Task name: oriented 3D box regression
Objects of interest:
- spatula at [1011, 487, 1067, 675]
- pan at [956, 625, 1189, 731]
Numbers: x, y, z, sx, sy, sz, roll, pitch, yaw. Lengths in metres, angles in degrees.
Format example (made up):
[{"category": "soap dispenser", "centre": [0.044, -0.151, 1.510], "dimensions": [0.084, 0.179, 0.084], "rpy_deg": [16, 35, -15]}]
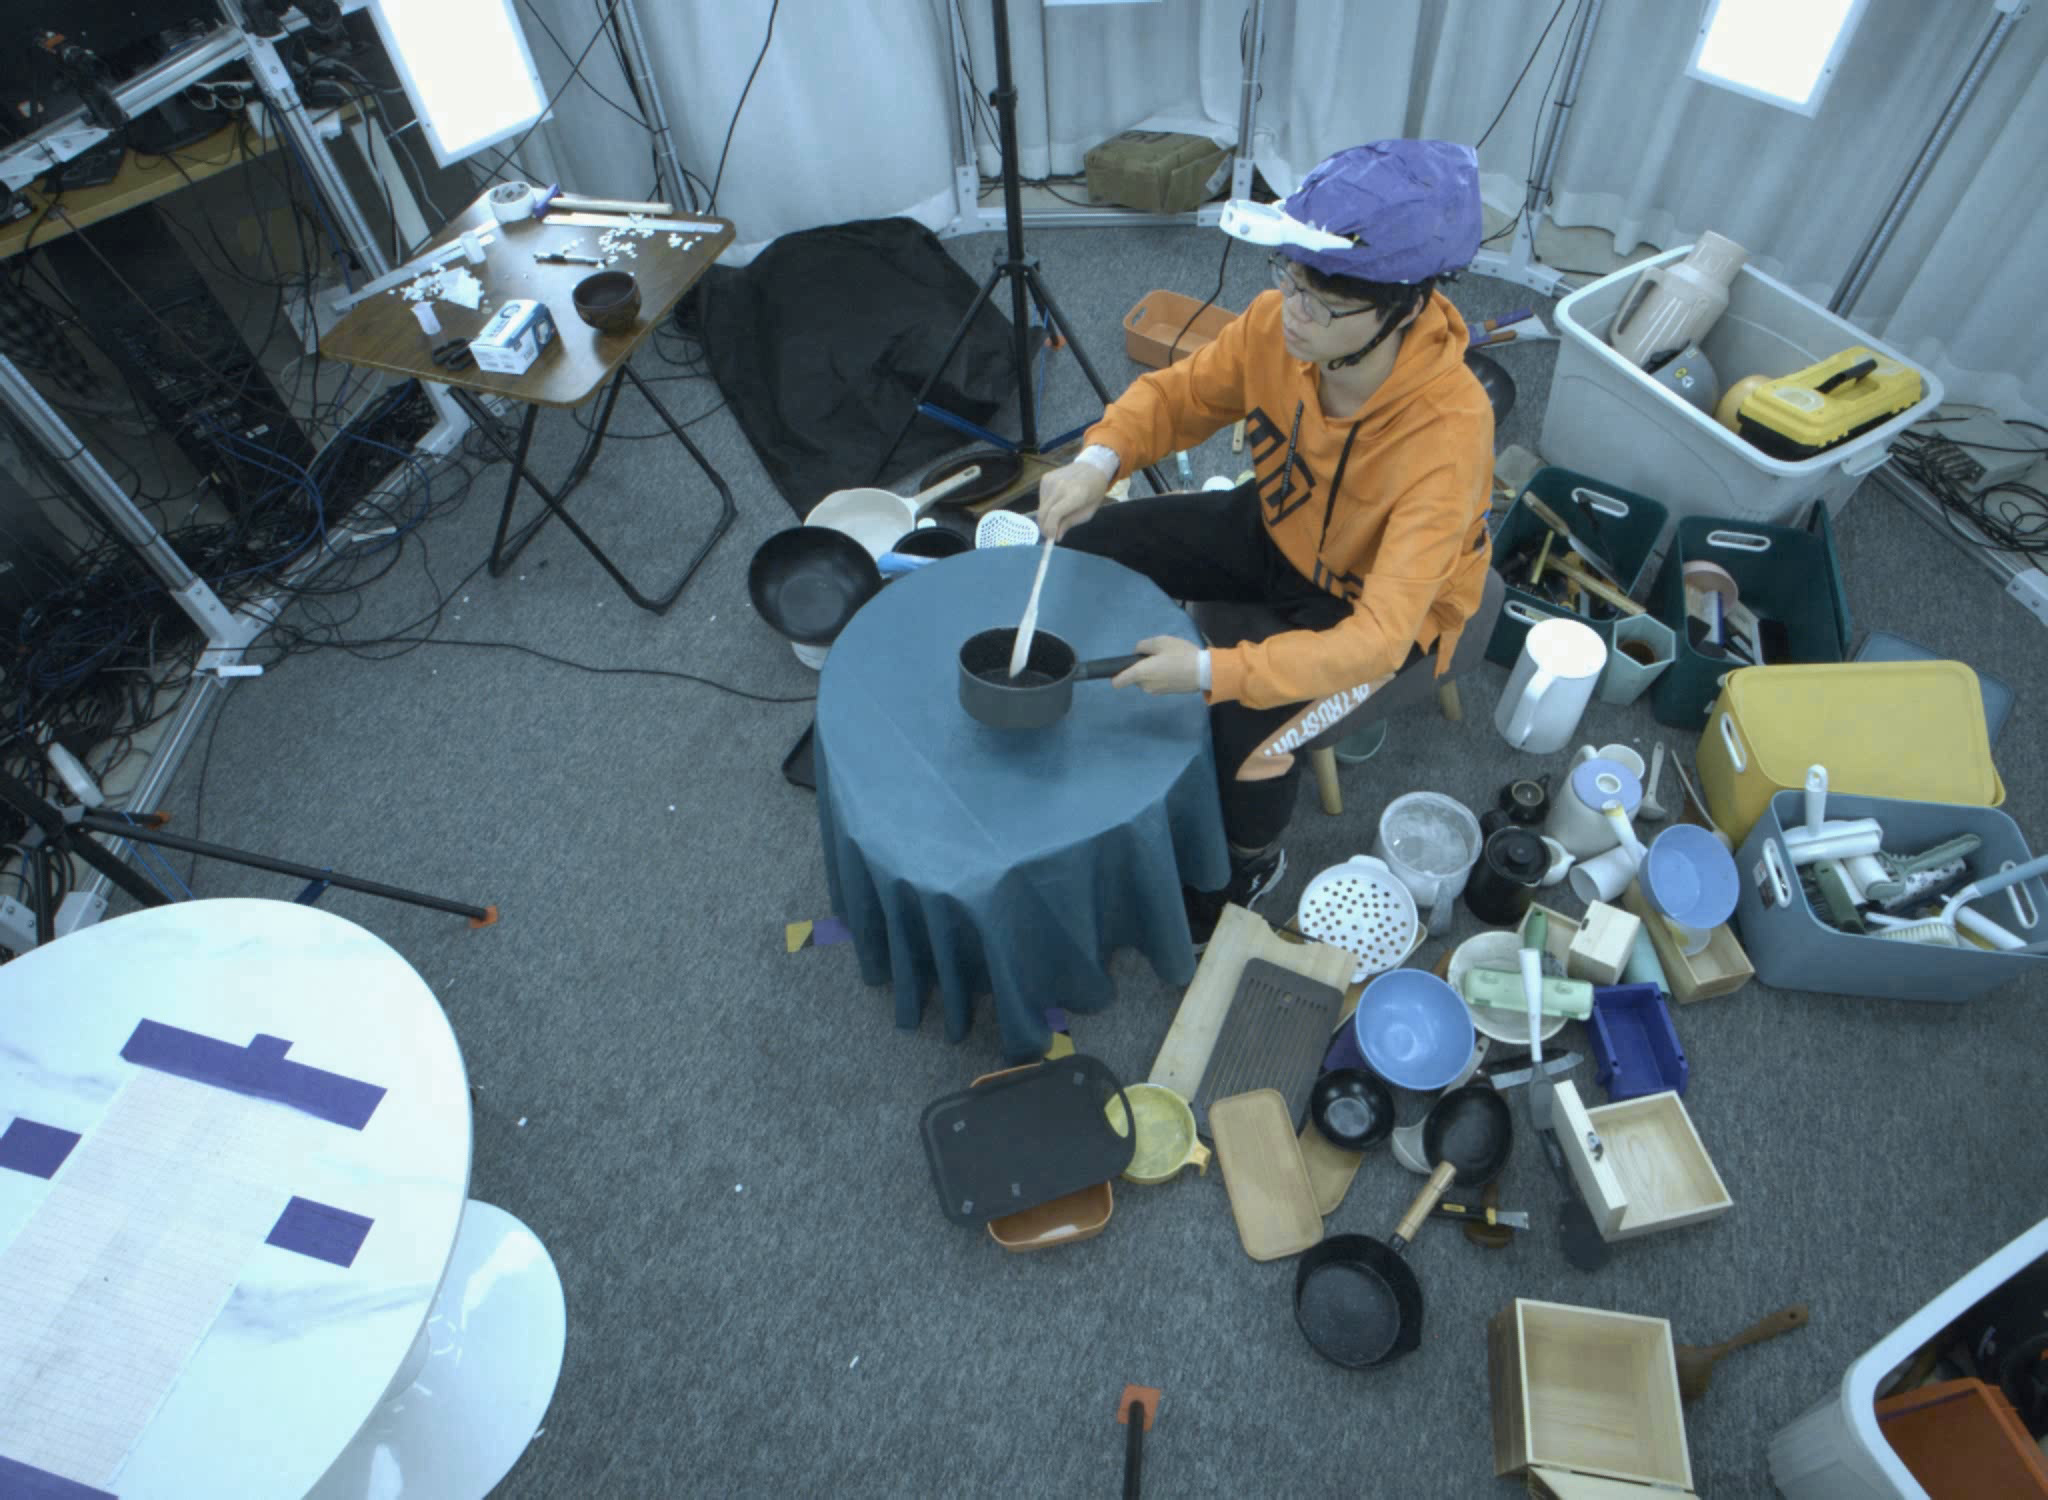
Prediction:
[{"category": "spatula", "centre": [0.023, -0.248, 1.752], "dimensions": [0.011, 0.072, 0.292], "rpy_deg": [17, 73, -10]}, {"category": "pan", "centre": [0.068, -0.102, 1.752], "dimensions": [0.330, 0.087, 0.170], "rpy_deg": [1, 38, -3]}]
